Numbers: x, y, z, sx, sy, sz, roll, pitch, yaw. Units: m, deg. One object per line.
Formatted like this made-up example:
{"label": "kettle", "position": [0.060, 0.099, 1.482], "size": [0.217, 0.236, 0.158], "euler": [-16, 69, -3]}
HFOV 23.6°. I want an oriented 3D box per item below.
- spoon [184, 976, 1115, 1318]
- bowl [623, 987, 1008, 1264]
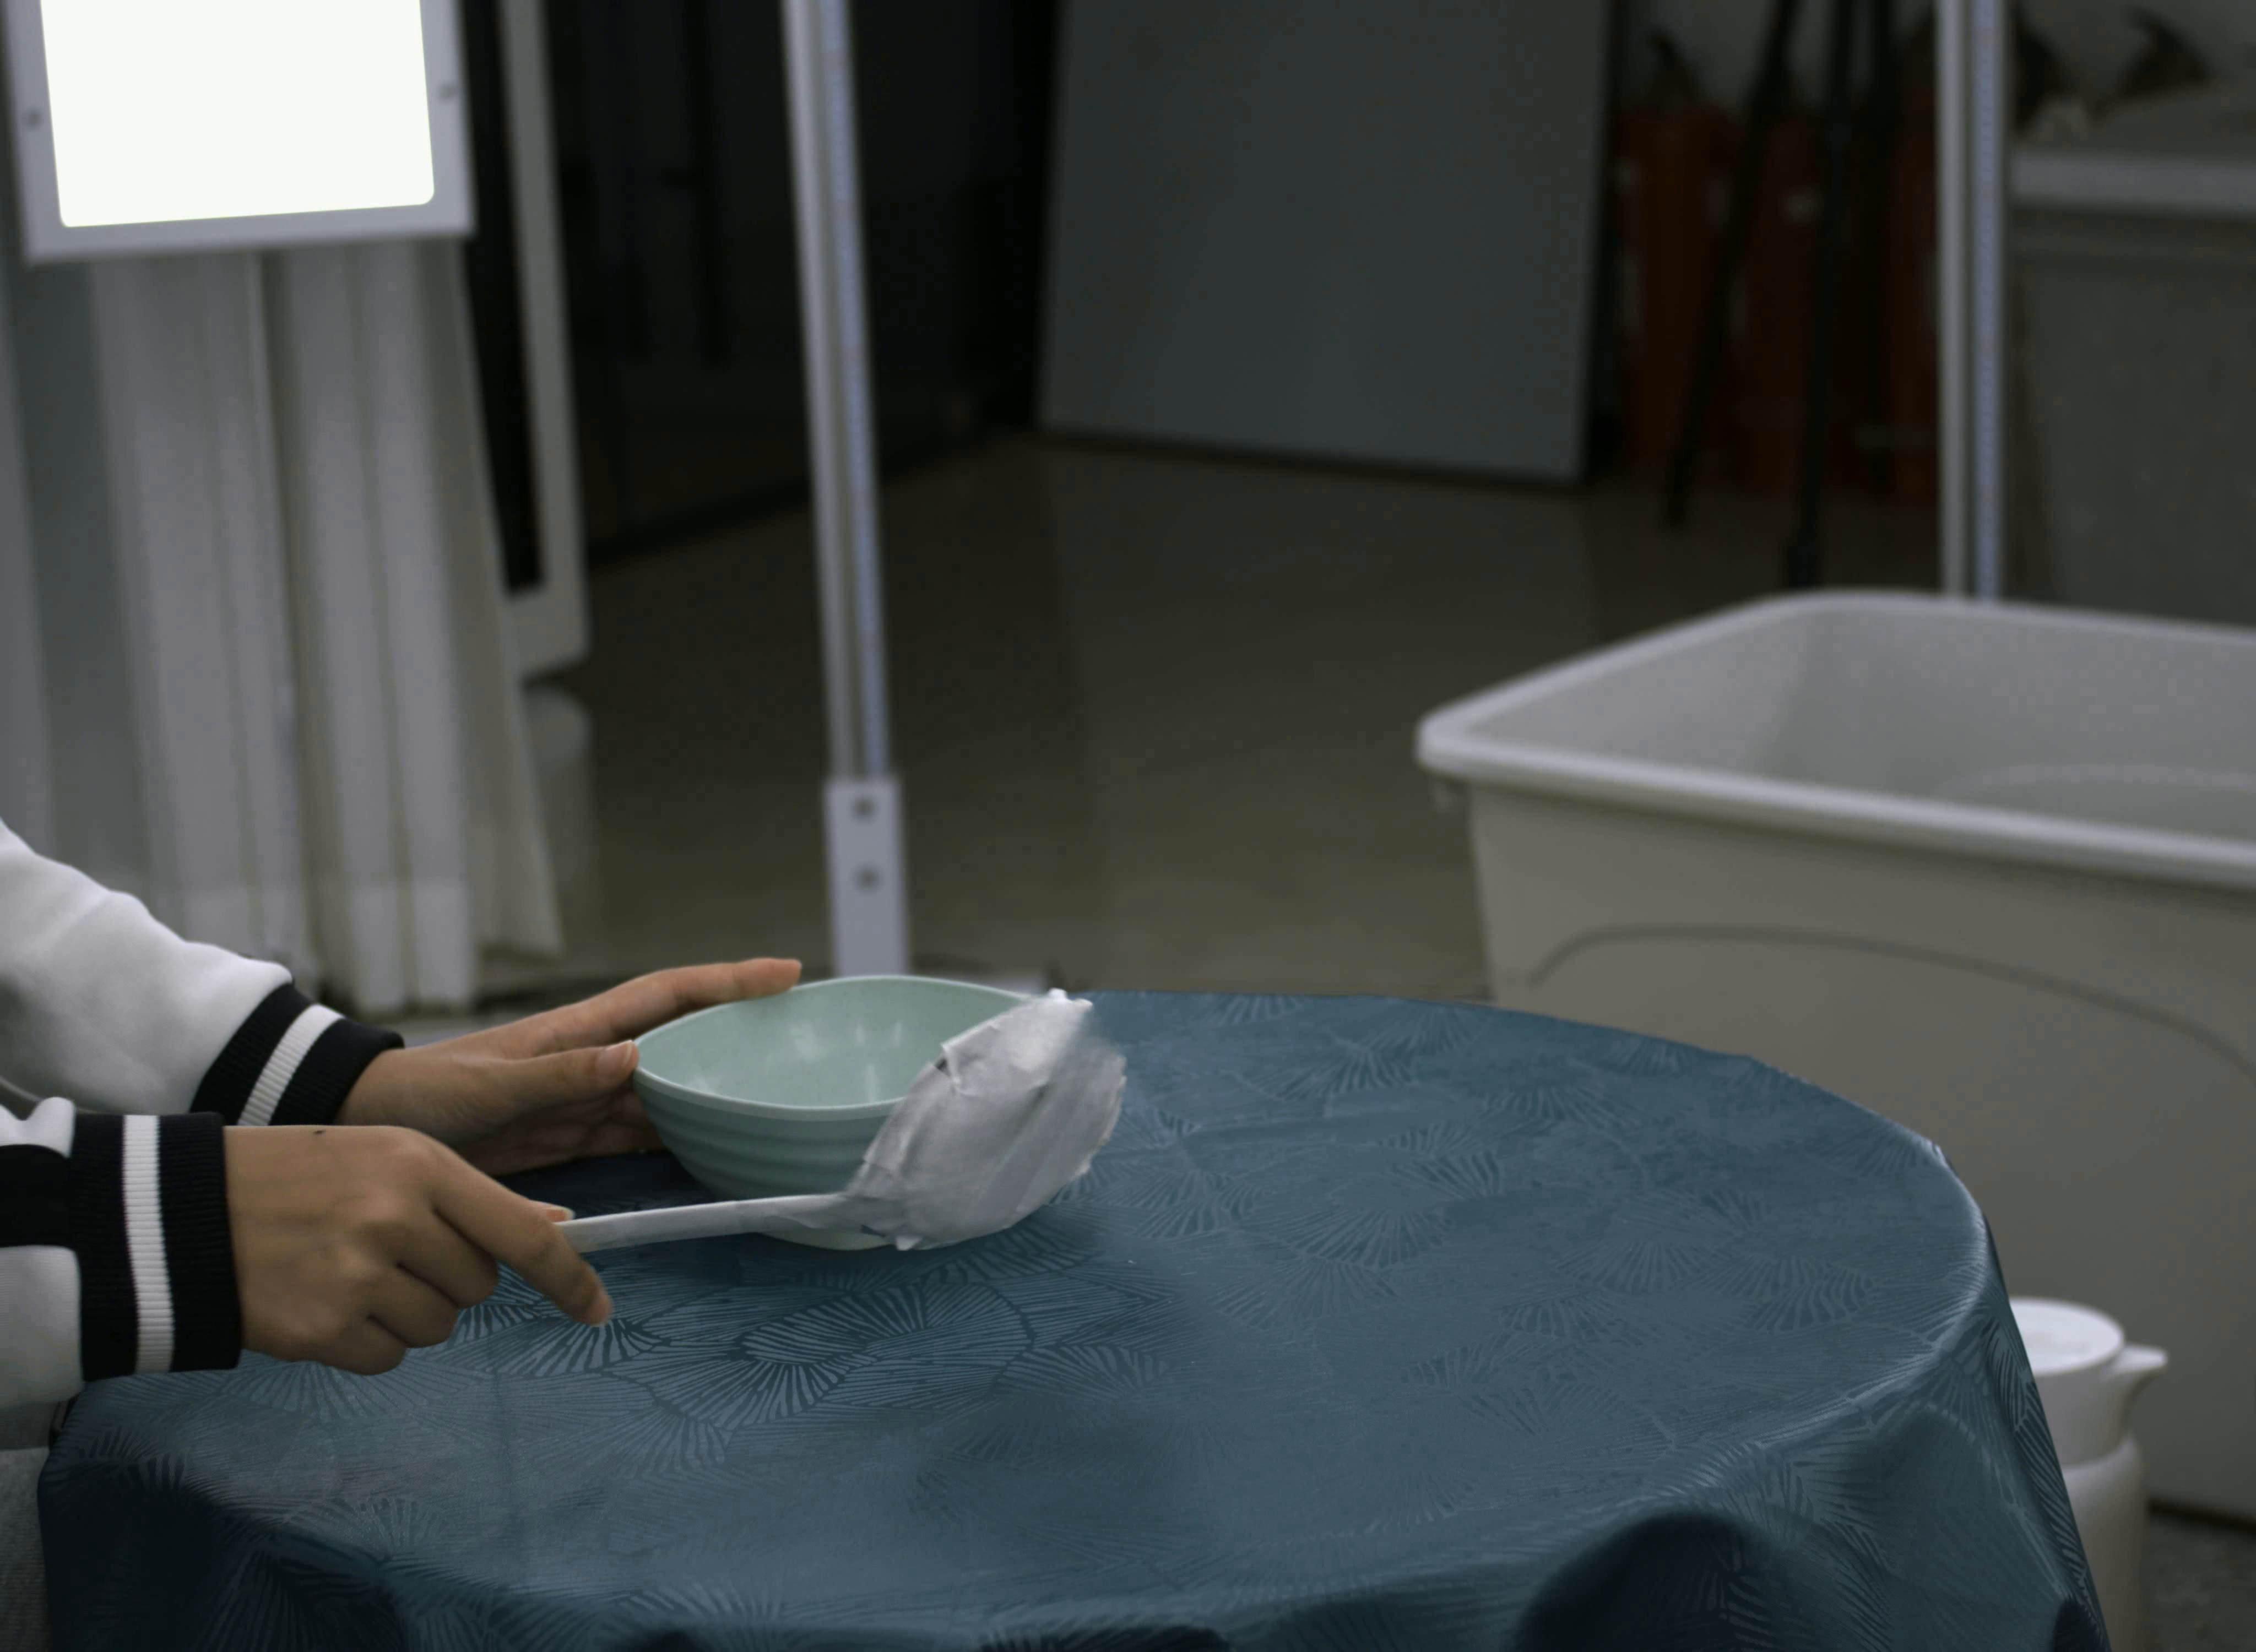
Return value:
{"label": "spoon", "position": [-0.137, 0.102, 1.572], "size": [0.275, 0.101, 0.060], "euler": [-8, 44, 7]}
{"label": "bowl", "position": [-0.088, 0.101, 1.769], "size": [0.149, 0.059, 0.152], "euler": [-4, 13, 0]}
